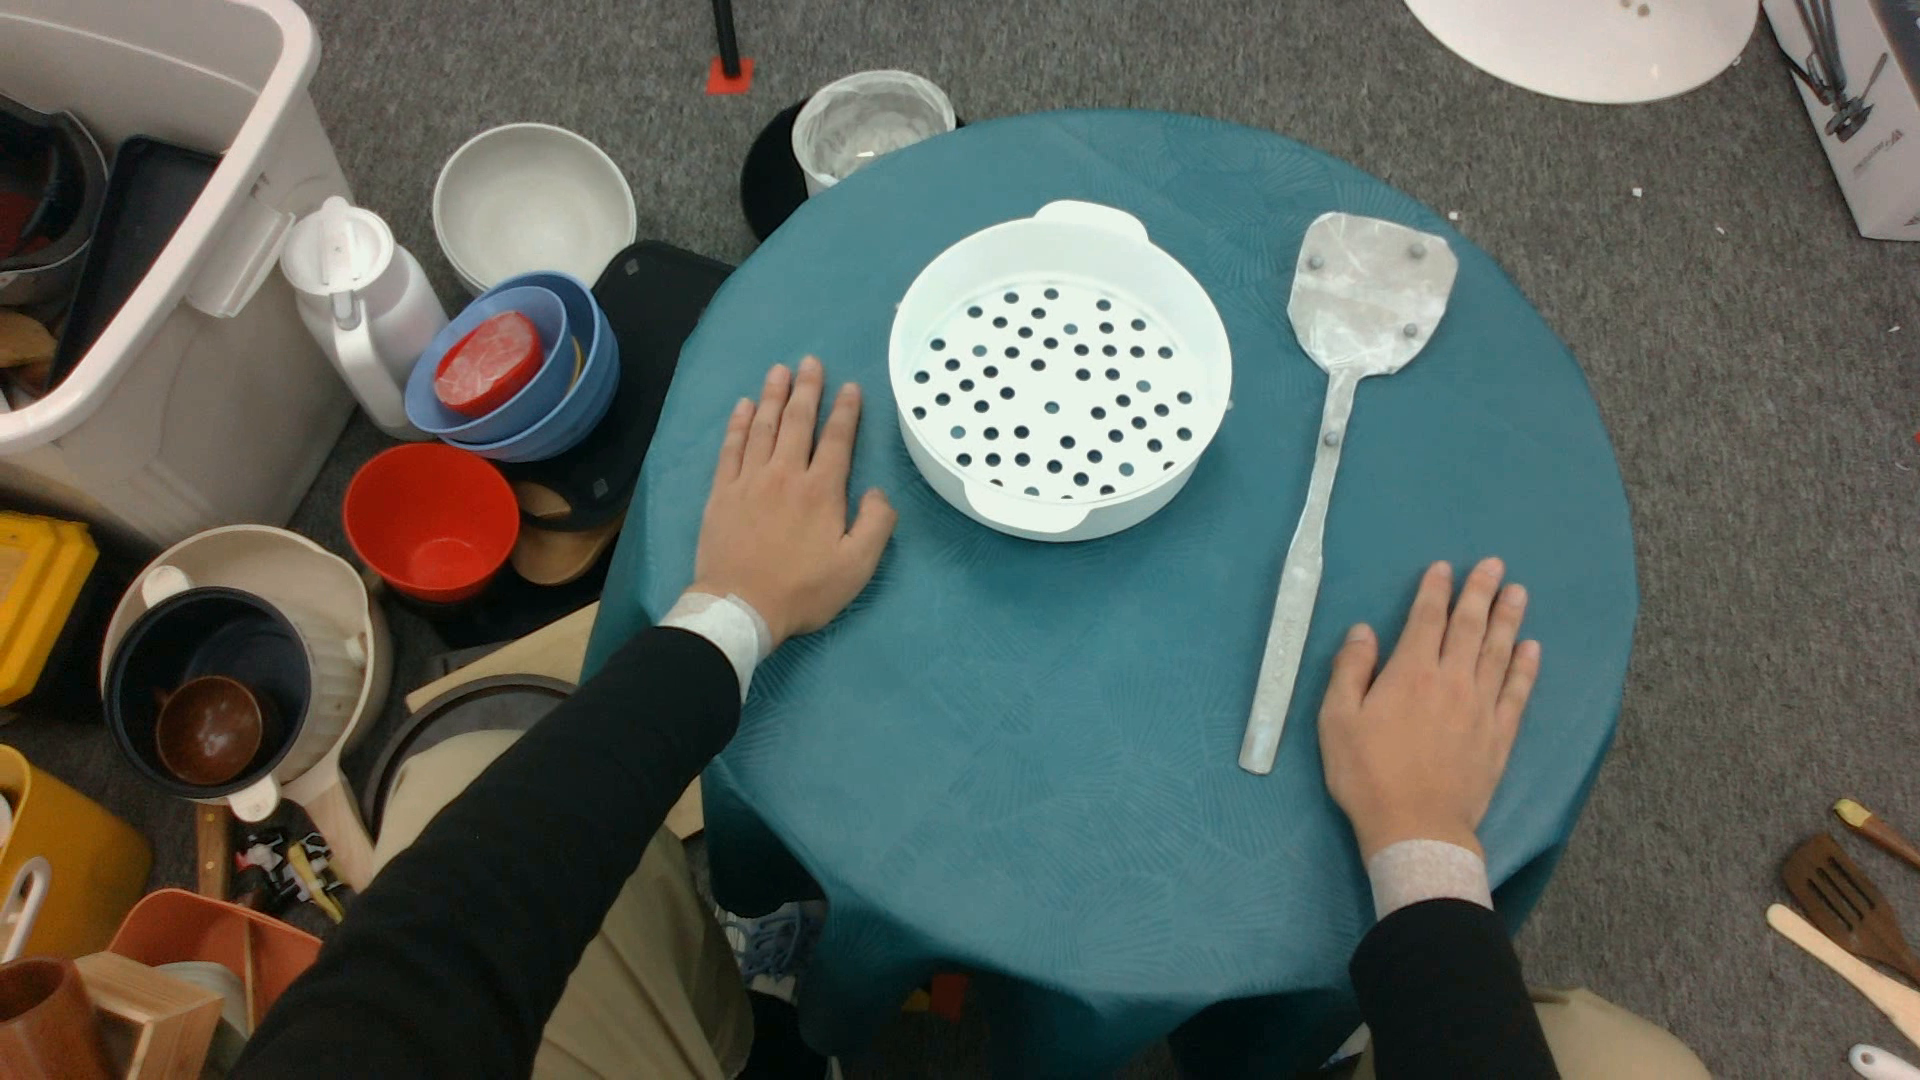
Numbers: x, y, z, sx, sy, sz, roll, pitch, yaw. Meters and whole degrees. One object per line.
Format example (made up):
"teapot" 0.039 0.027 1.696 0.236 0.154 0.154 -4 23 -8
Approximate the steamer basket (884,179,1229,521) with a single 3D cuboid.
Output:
"steamer basket" 0.056 -0.108 0.830 0.202 0.069 0.231 13 66 5

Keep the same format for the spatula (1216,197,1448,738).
"spatula" 0.213 -0.050 0.828 0.098 0.044 0.366 18 65 4
